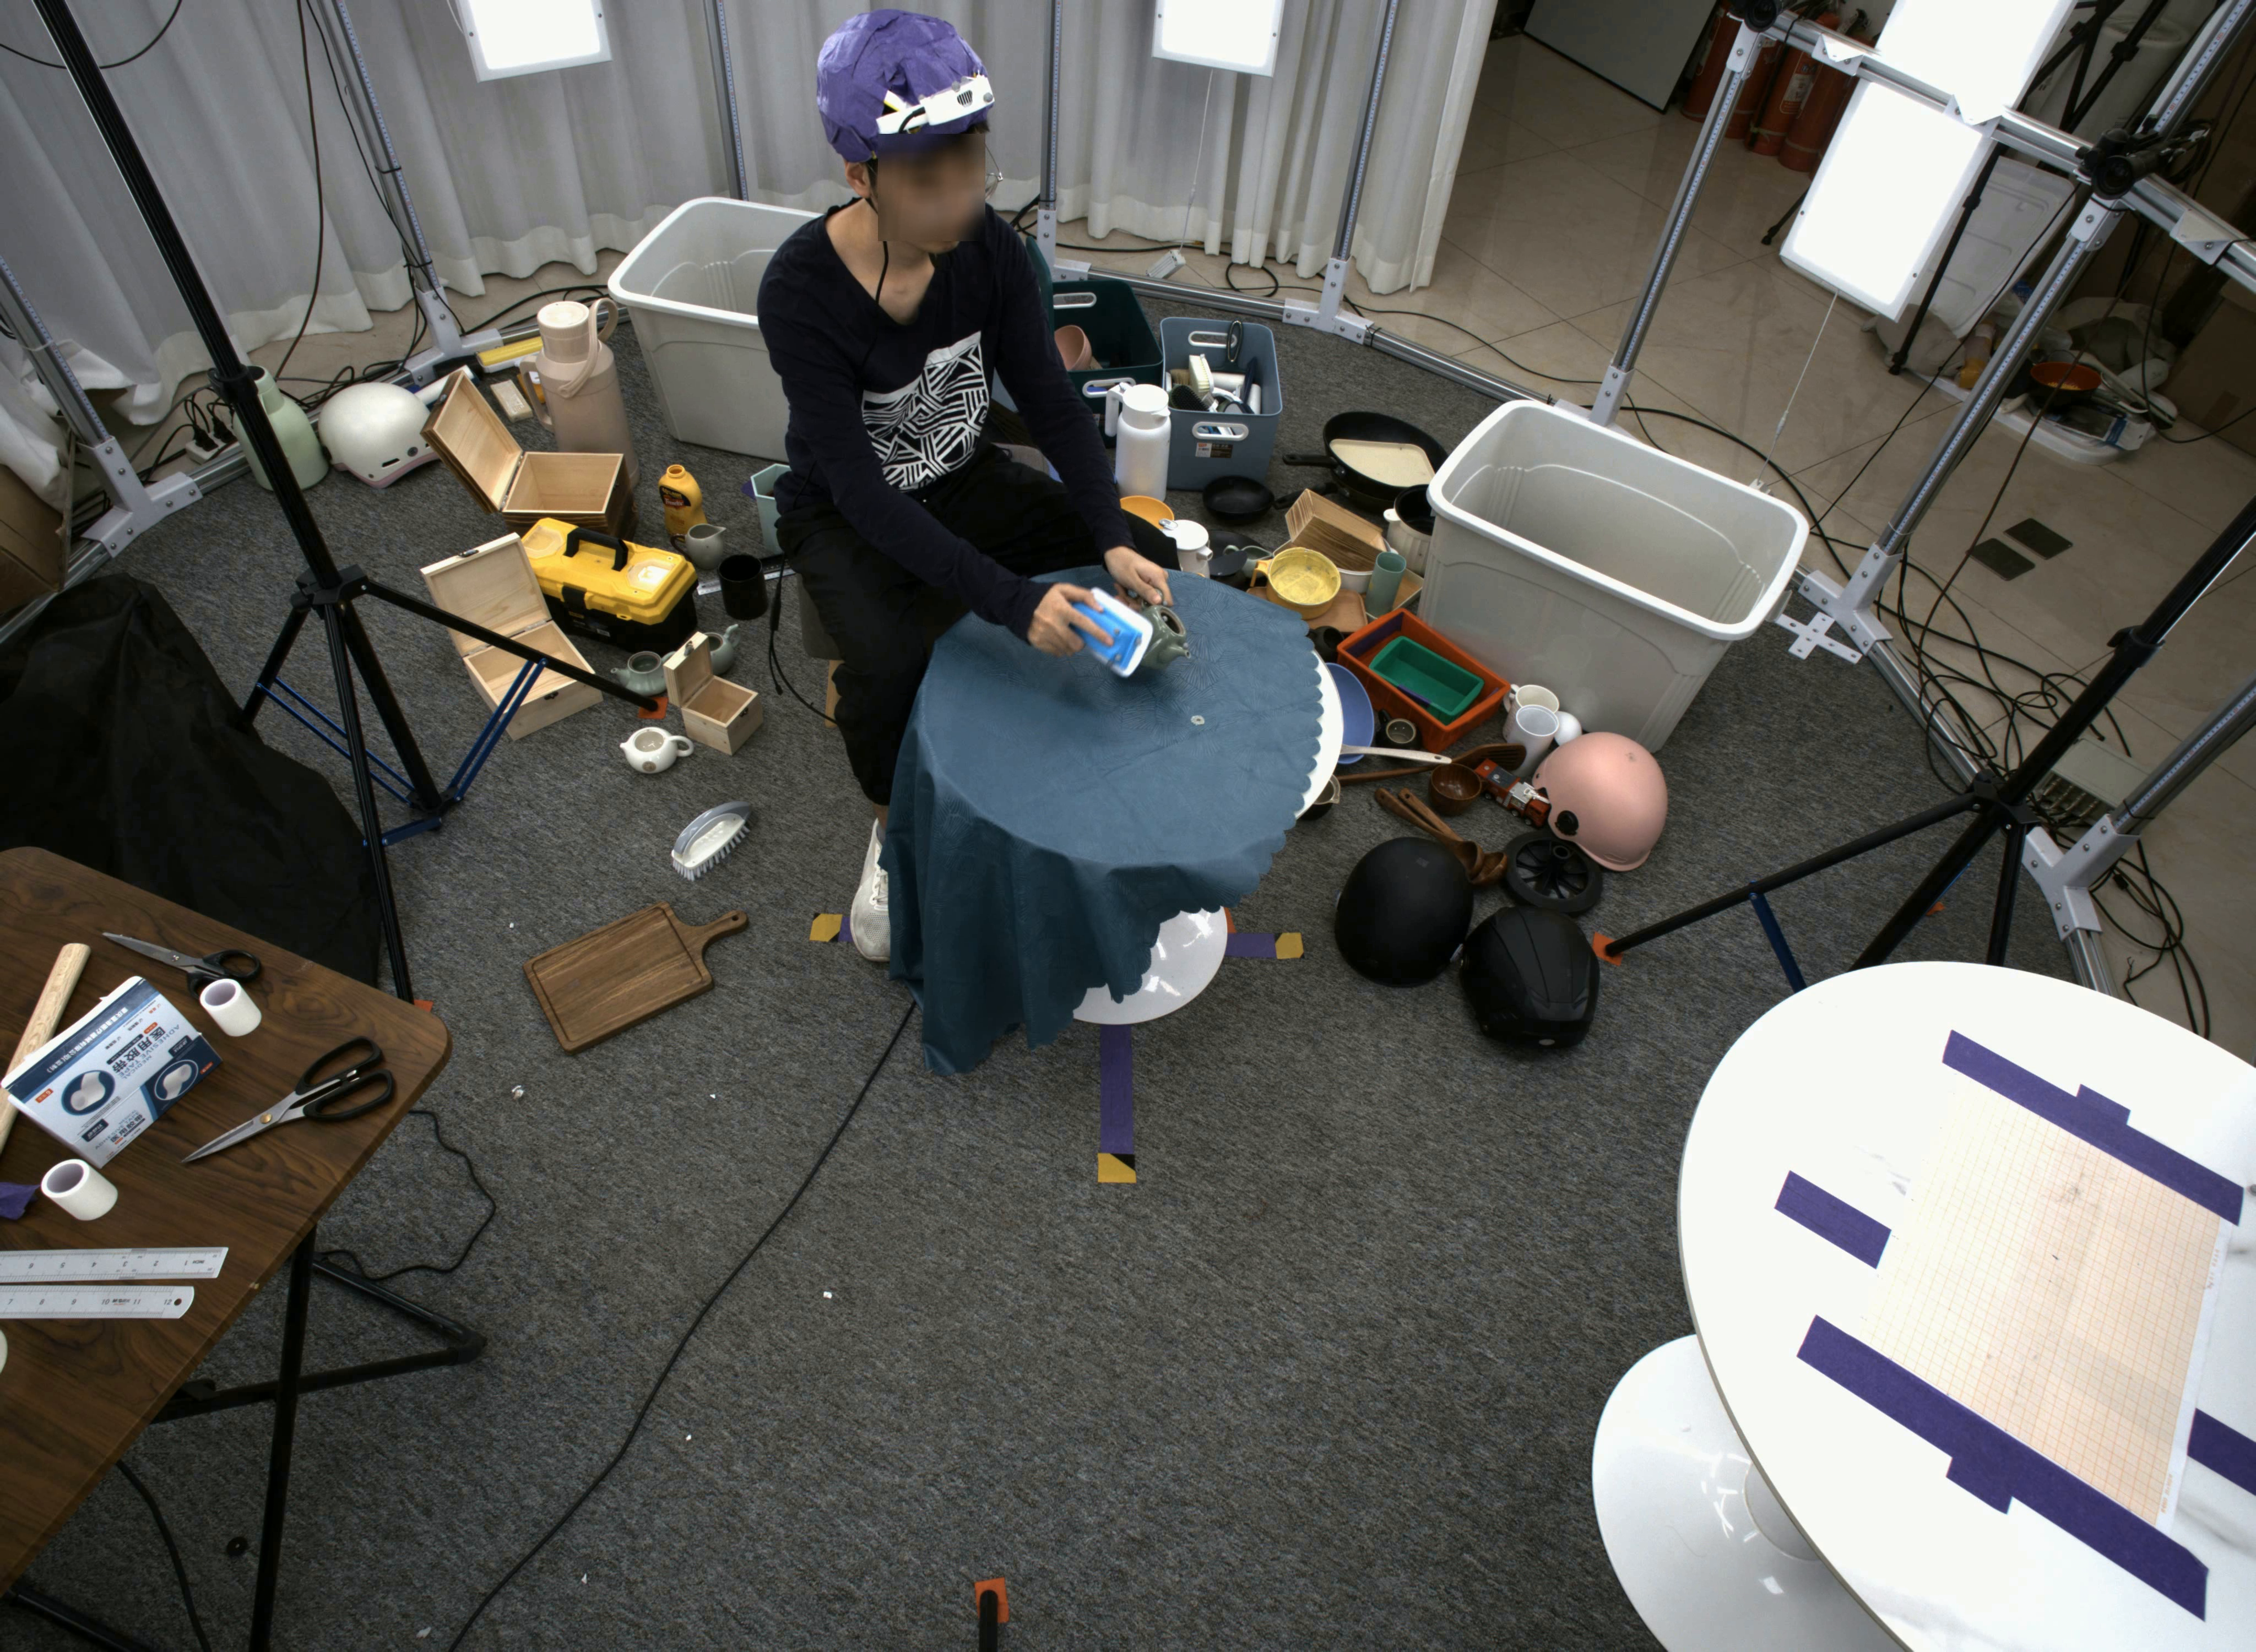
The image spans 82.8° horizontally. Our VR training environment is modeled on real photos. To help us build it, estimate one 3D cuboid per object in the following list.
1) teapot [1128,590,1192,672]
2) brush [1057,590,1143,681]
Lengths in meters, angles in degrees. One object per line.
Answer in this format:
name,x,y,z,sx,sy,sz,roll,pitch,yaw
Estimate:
teapot,0.042,-0.269,1.827,0.079,0.074,0.135,10,46,-47
brush,-0.046,-0.265,1.760,0.147,0.083,0.055,43,17,35
